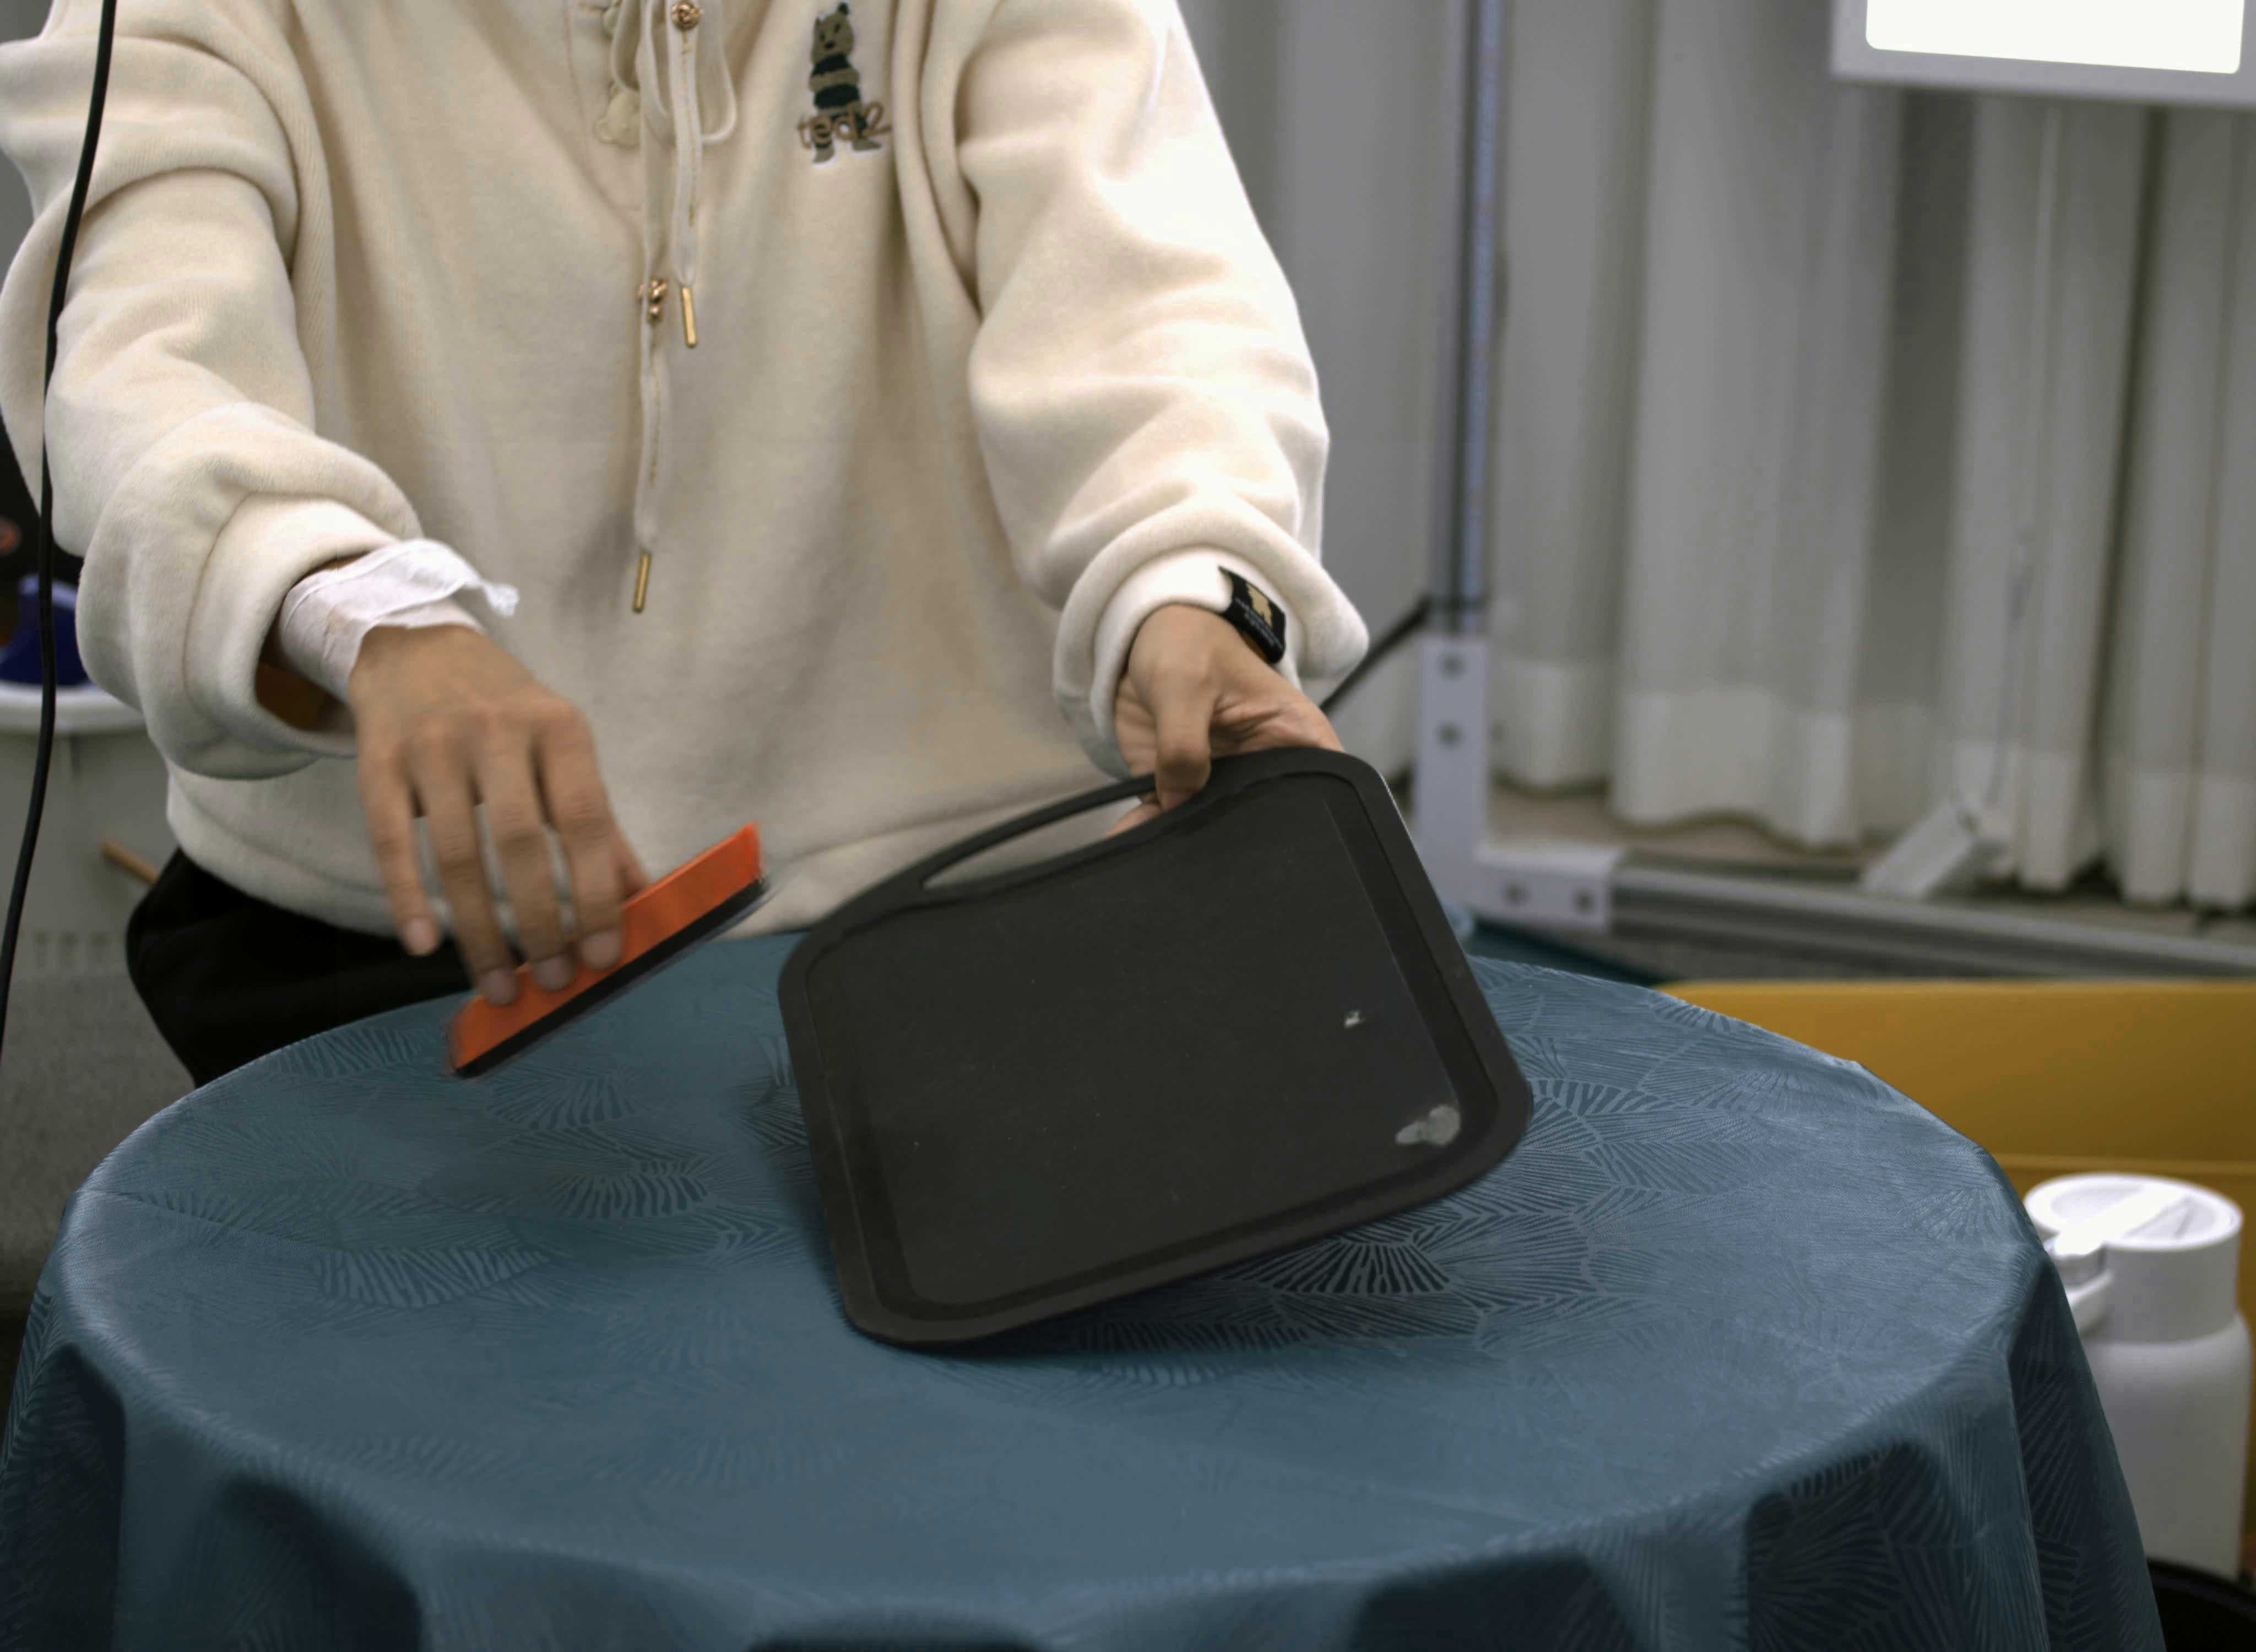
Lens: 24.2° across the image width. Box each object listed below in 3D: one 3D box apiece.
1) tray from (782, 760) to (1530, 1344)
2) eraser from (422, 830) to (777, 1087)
[{"bbox_3d":[-0.001,0.059,1.624,0.210,0.010,0.322,-19,25,-1],"label":"tray"},{"bbox_3d":[-0.160,0.040,1.597,0.108,0.023,0.059,-31,5,14],"label":"eraser"}]
